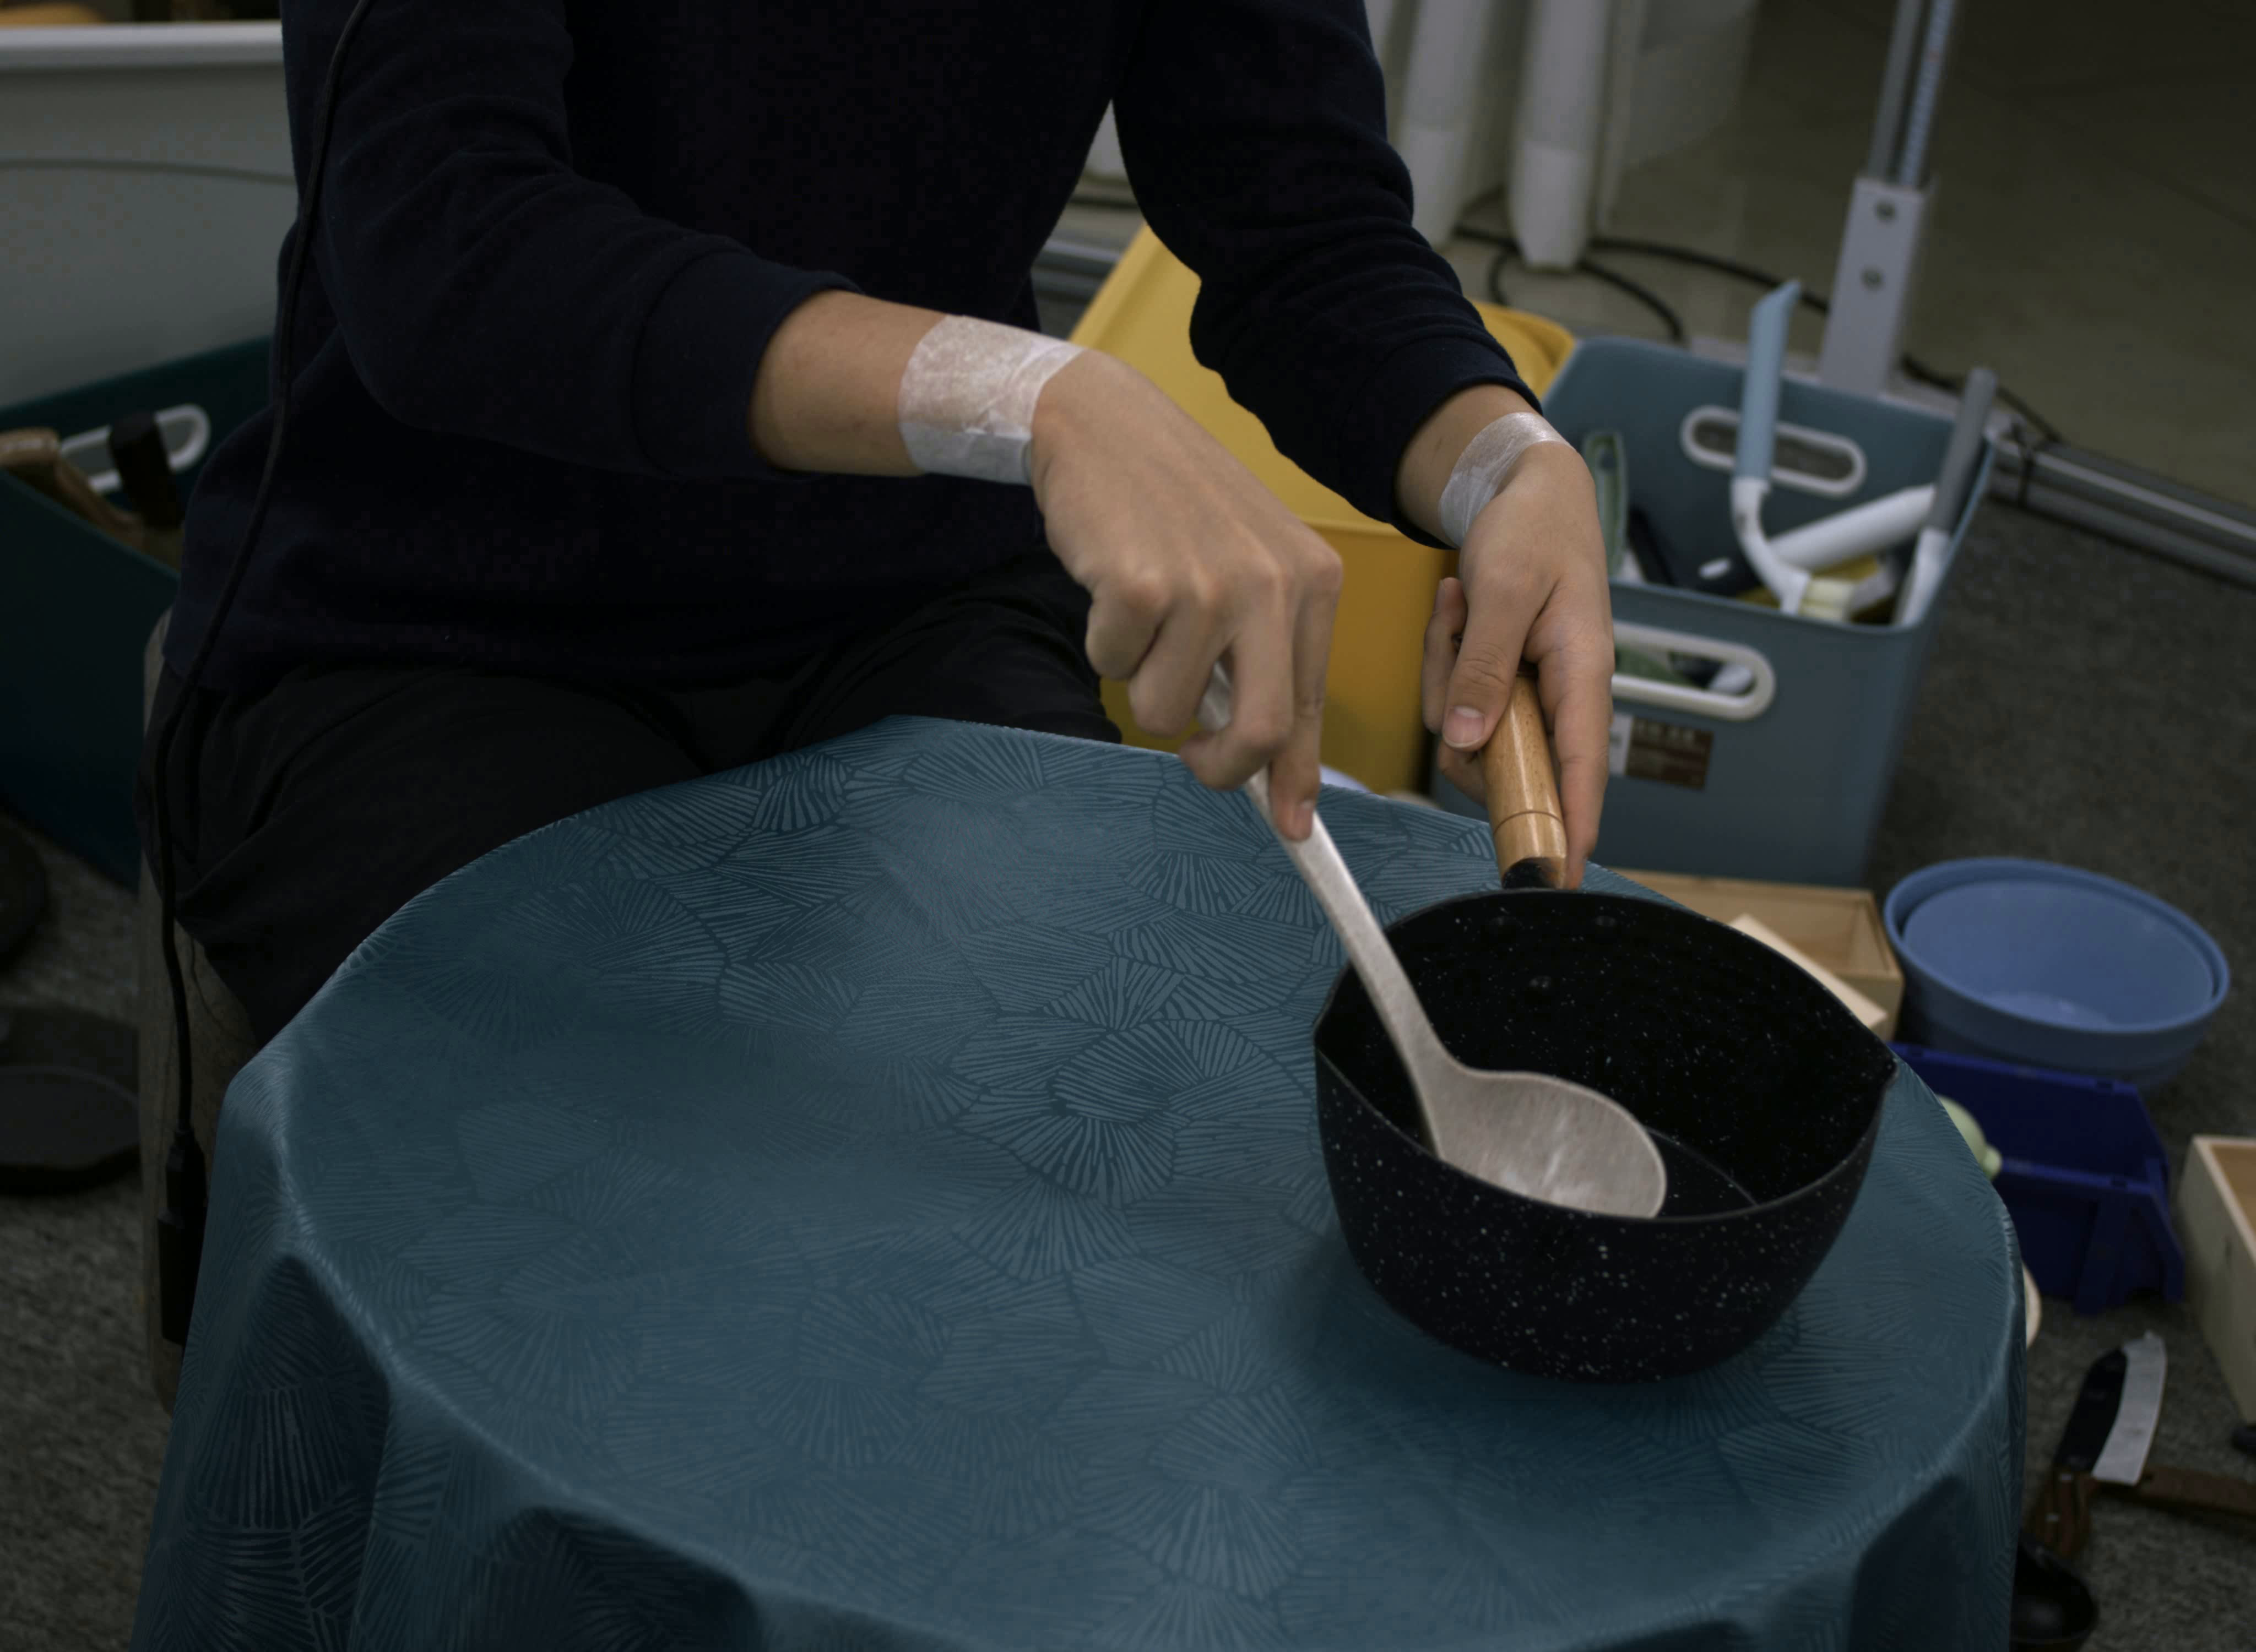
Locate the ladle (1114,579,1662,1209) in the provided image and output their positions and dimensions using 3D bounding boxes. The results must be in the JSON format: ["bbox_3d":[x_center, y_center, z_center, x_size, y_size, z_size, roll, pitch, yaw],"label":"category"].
[{"bbox_3d":[0.086,0.029,1.726,0.069,0.273,0.089,-13,26,37],"label":"ladle"}]

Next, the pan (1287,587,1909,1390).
[{"bbox_3d":[0.142,0.052,1.822,0.206,0.108,0.346,1,35,-9],"label":"pan"}]
